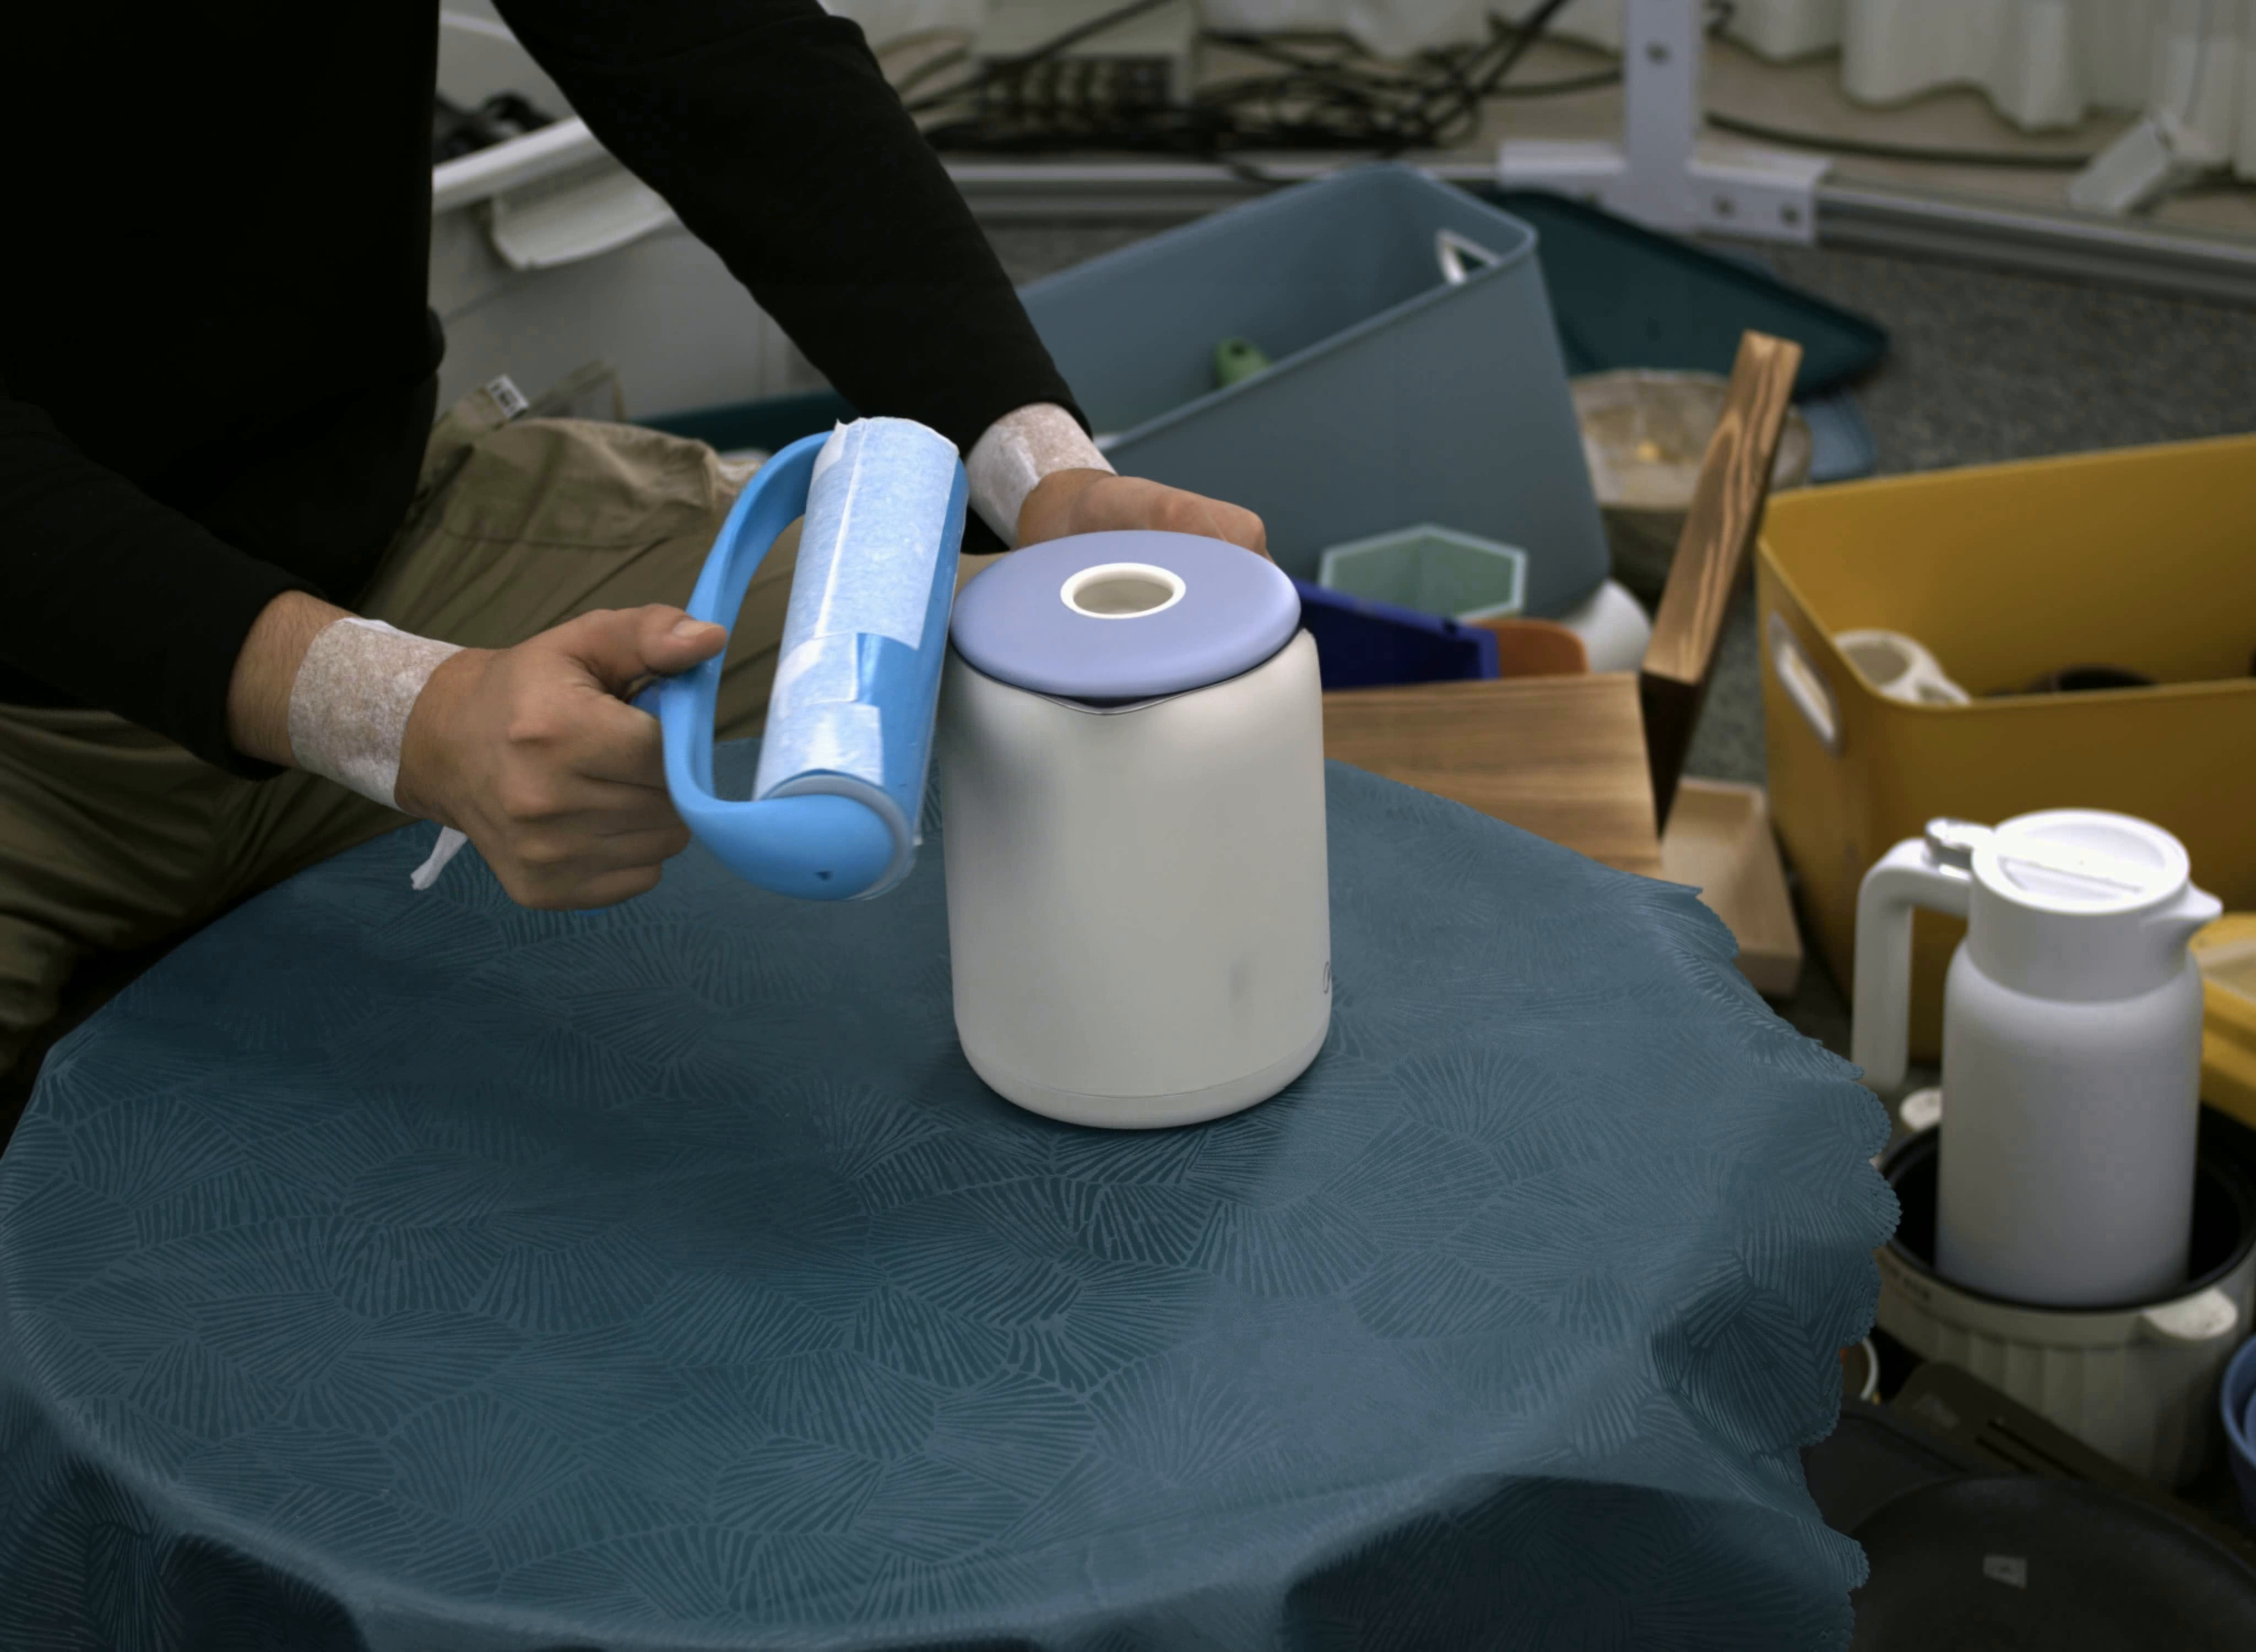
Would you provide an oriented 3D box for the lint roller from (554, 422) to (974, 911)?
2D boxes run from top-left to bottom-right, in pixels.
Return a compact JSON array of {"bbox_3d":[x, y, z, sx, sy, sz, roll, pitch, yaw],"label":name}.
[{"bbox_3d":[-0.136,-0.031,1.872,0.178,0.067,0.233,-27,34,22],"label":"lint roller"}]

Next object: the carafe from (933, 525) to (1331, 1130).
[{"bbox_3d":[0.003,-0.011,1.932,0.131,0.181,0.194,0,25,4],"label":"carafe"}]
